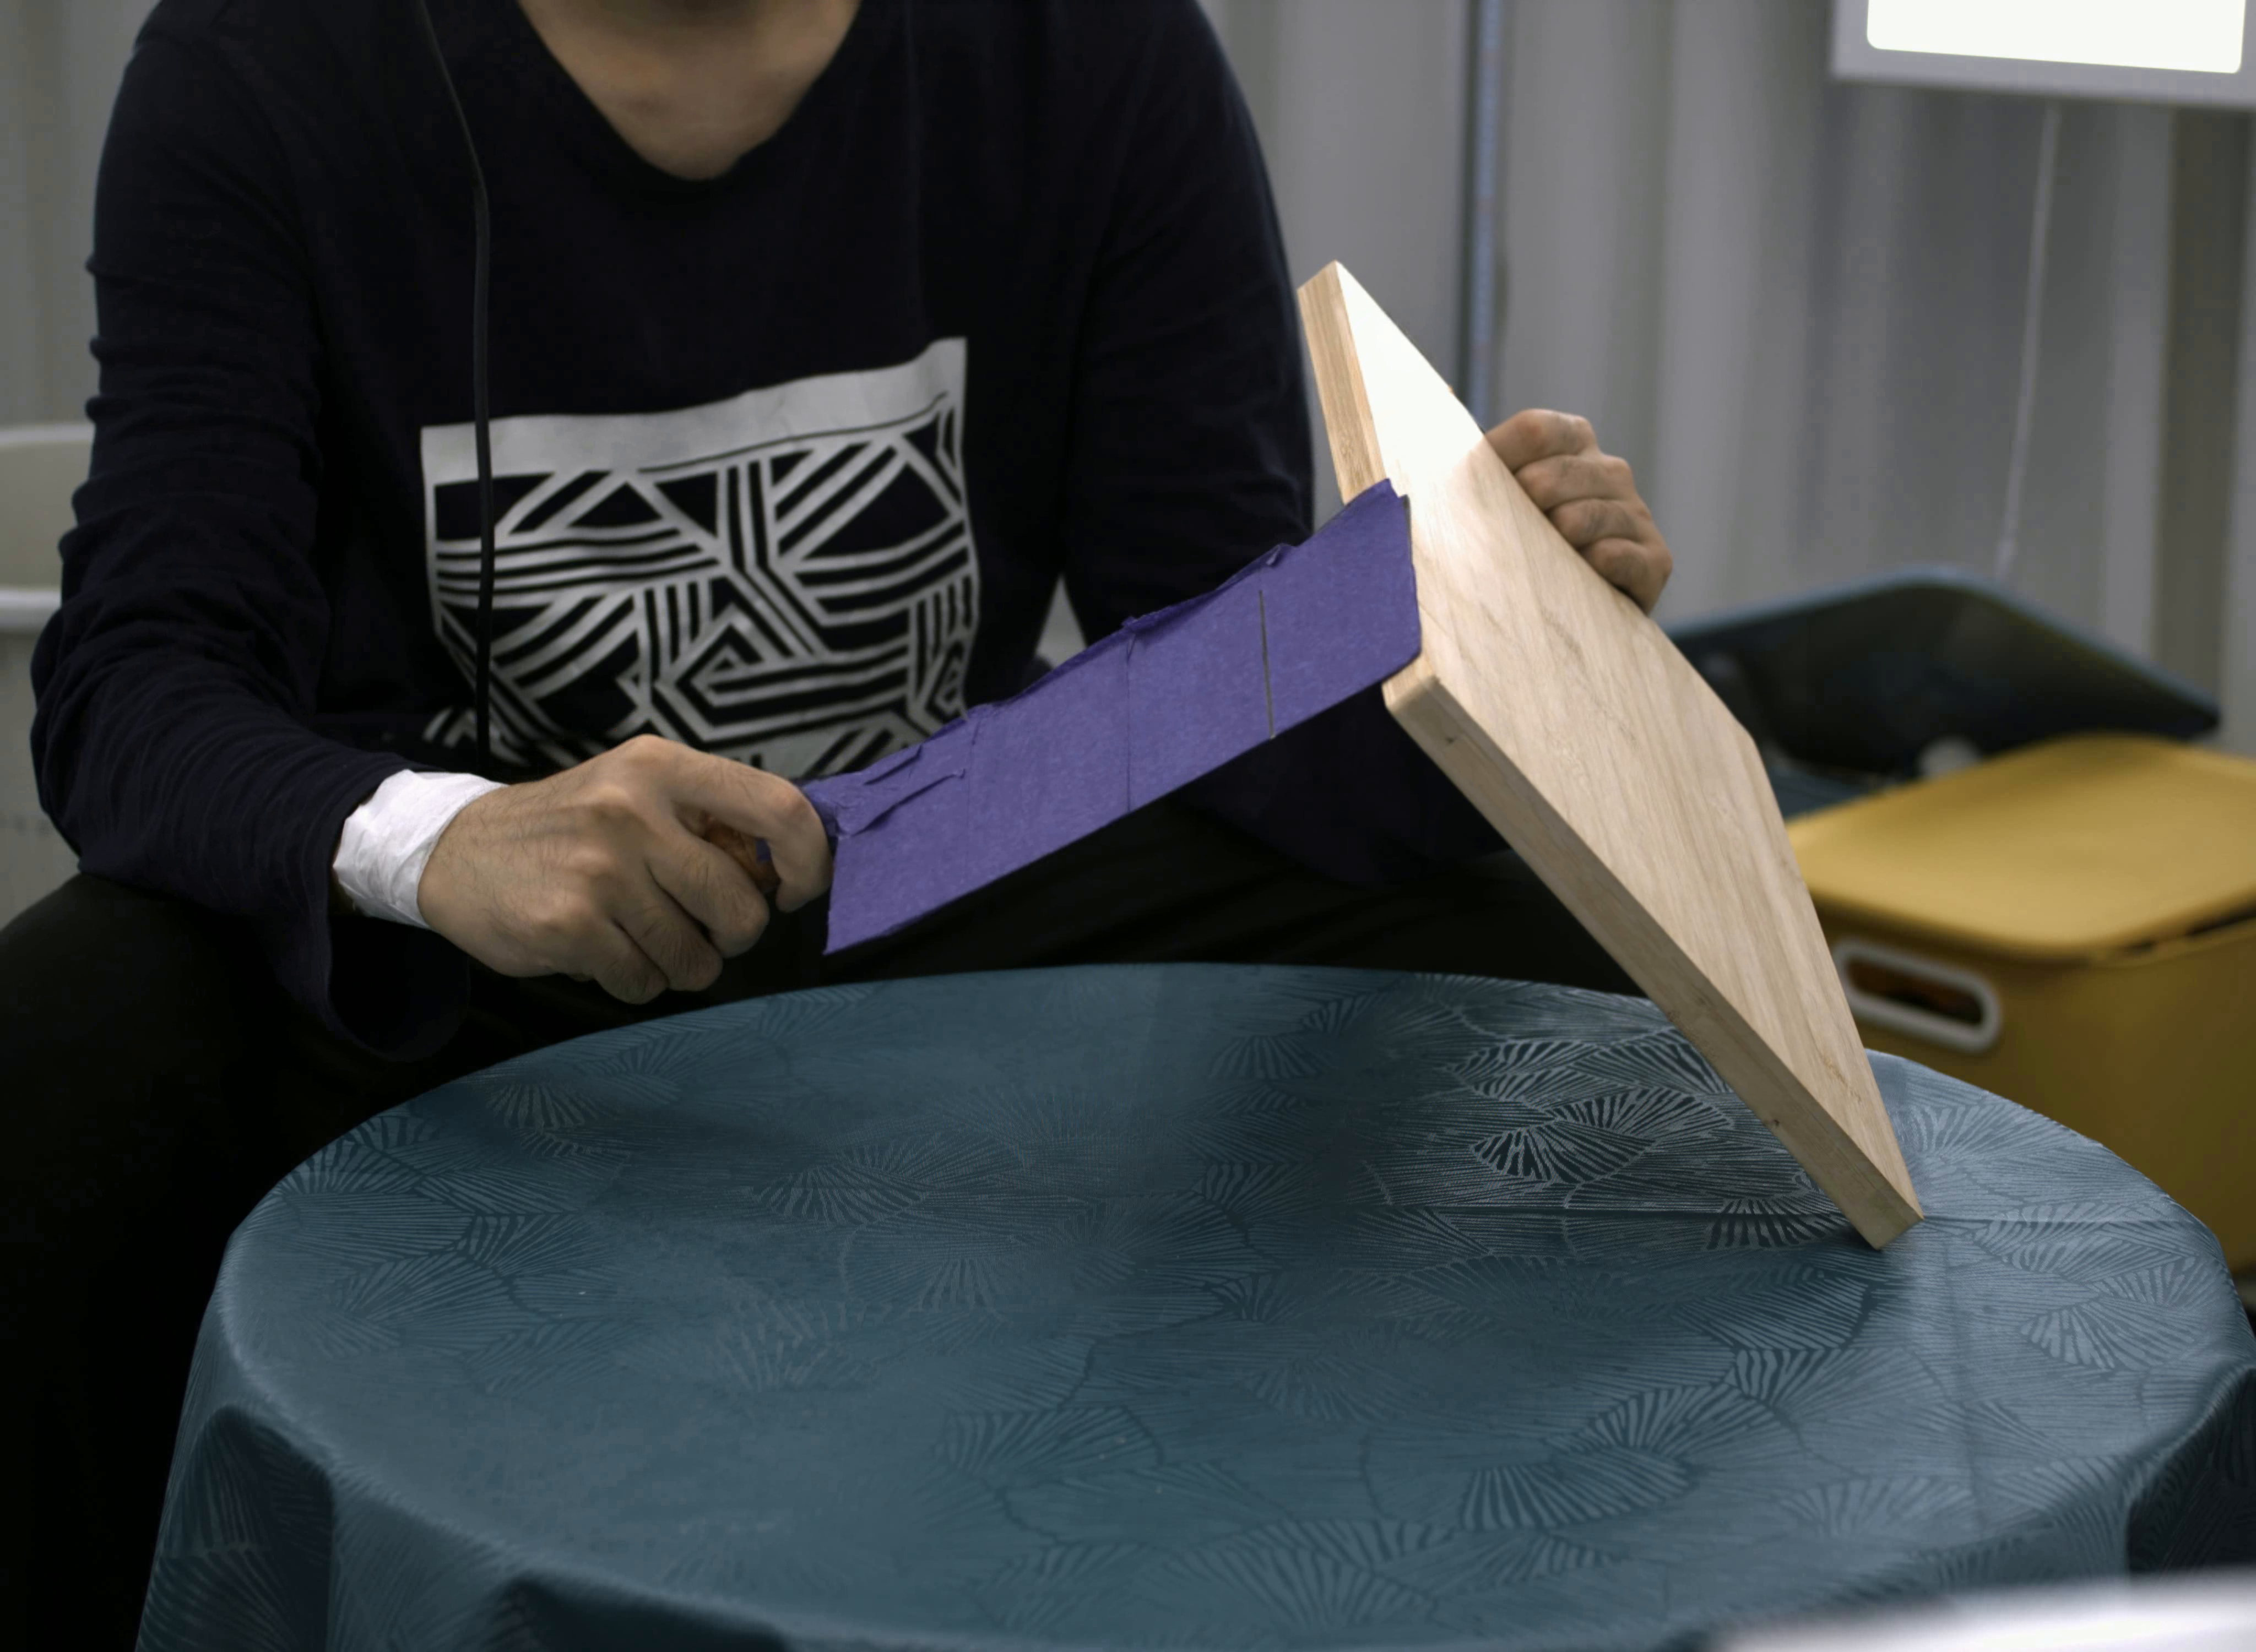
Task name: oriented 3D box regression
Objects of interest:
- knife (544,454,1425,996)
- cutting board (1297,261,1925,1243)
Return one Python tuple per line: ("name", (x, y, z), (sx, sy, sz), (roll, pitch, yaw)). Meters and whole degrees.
("knife", (-0.048, -0.014, 1.580), (0.314, 0.032, 0.103), (-30, 29, 19))
("cutting board", (0.147, -0.034, 1.686), (0.023, 0.253, 0.345), (-37, 23, 14))
